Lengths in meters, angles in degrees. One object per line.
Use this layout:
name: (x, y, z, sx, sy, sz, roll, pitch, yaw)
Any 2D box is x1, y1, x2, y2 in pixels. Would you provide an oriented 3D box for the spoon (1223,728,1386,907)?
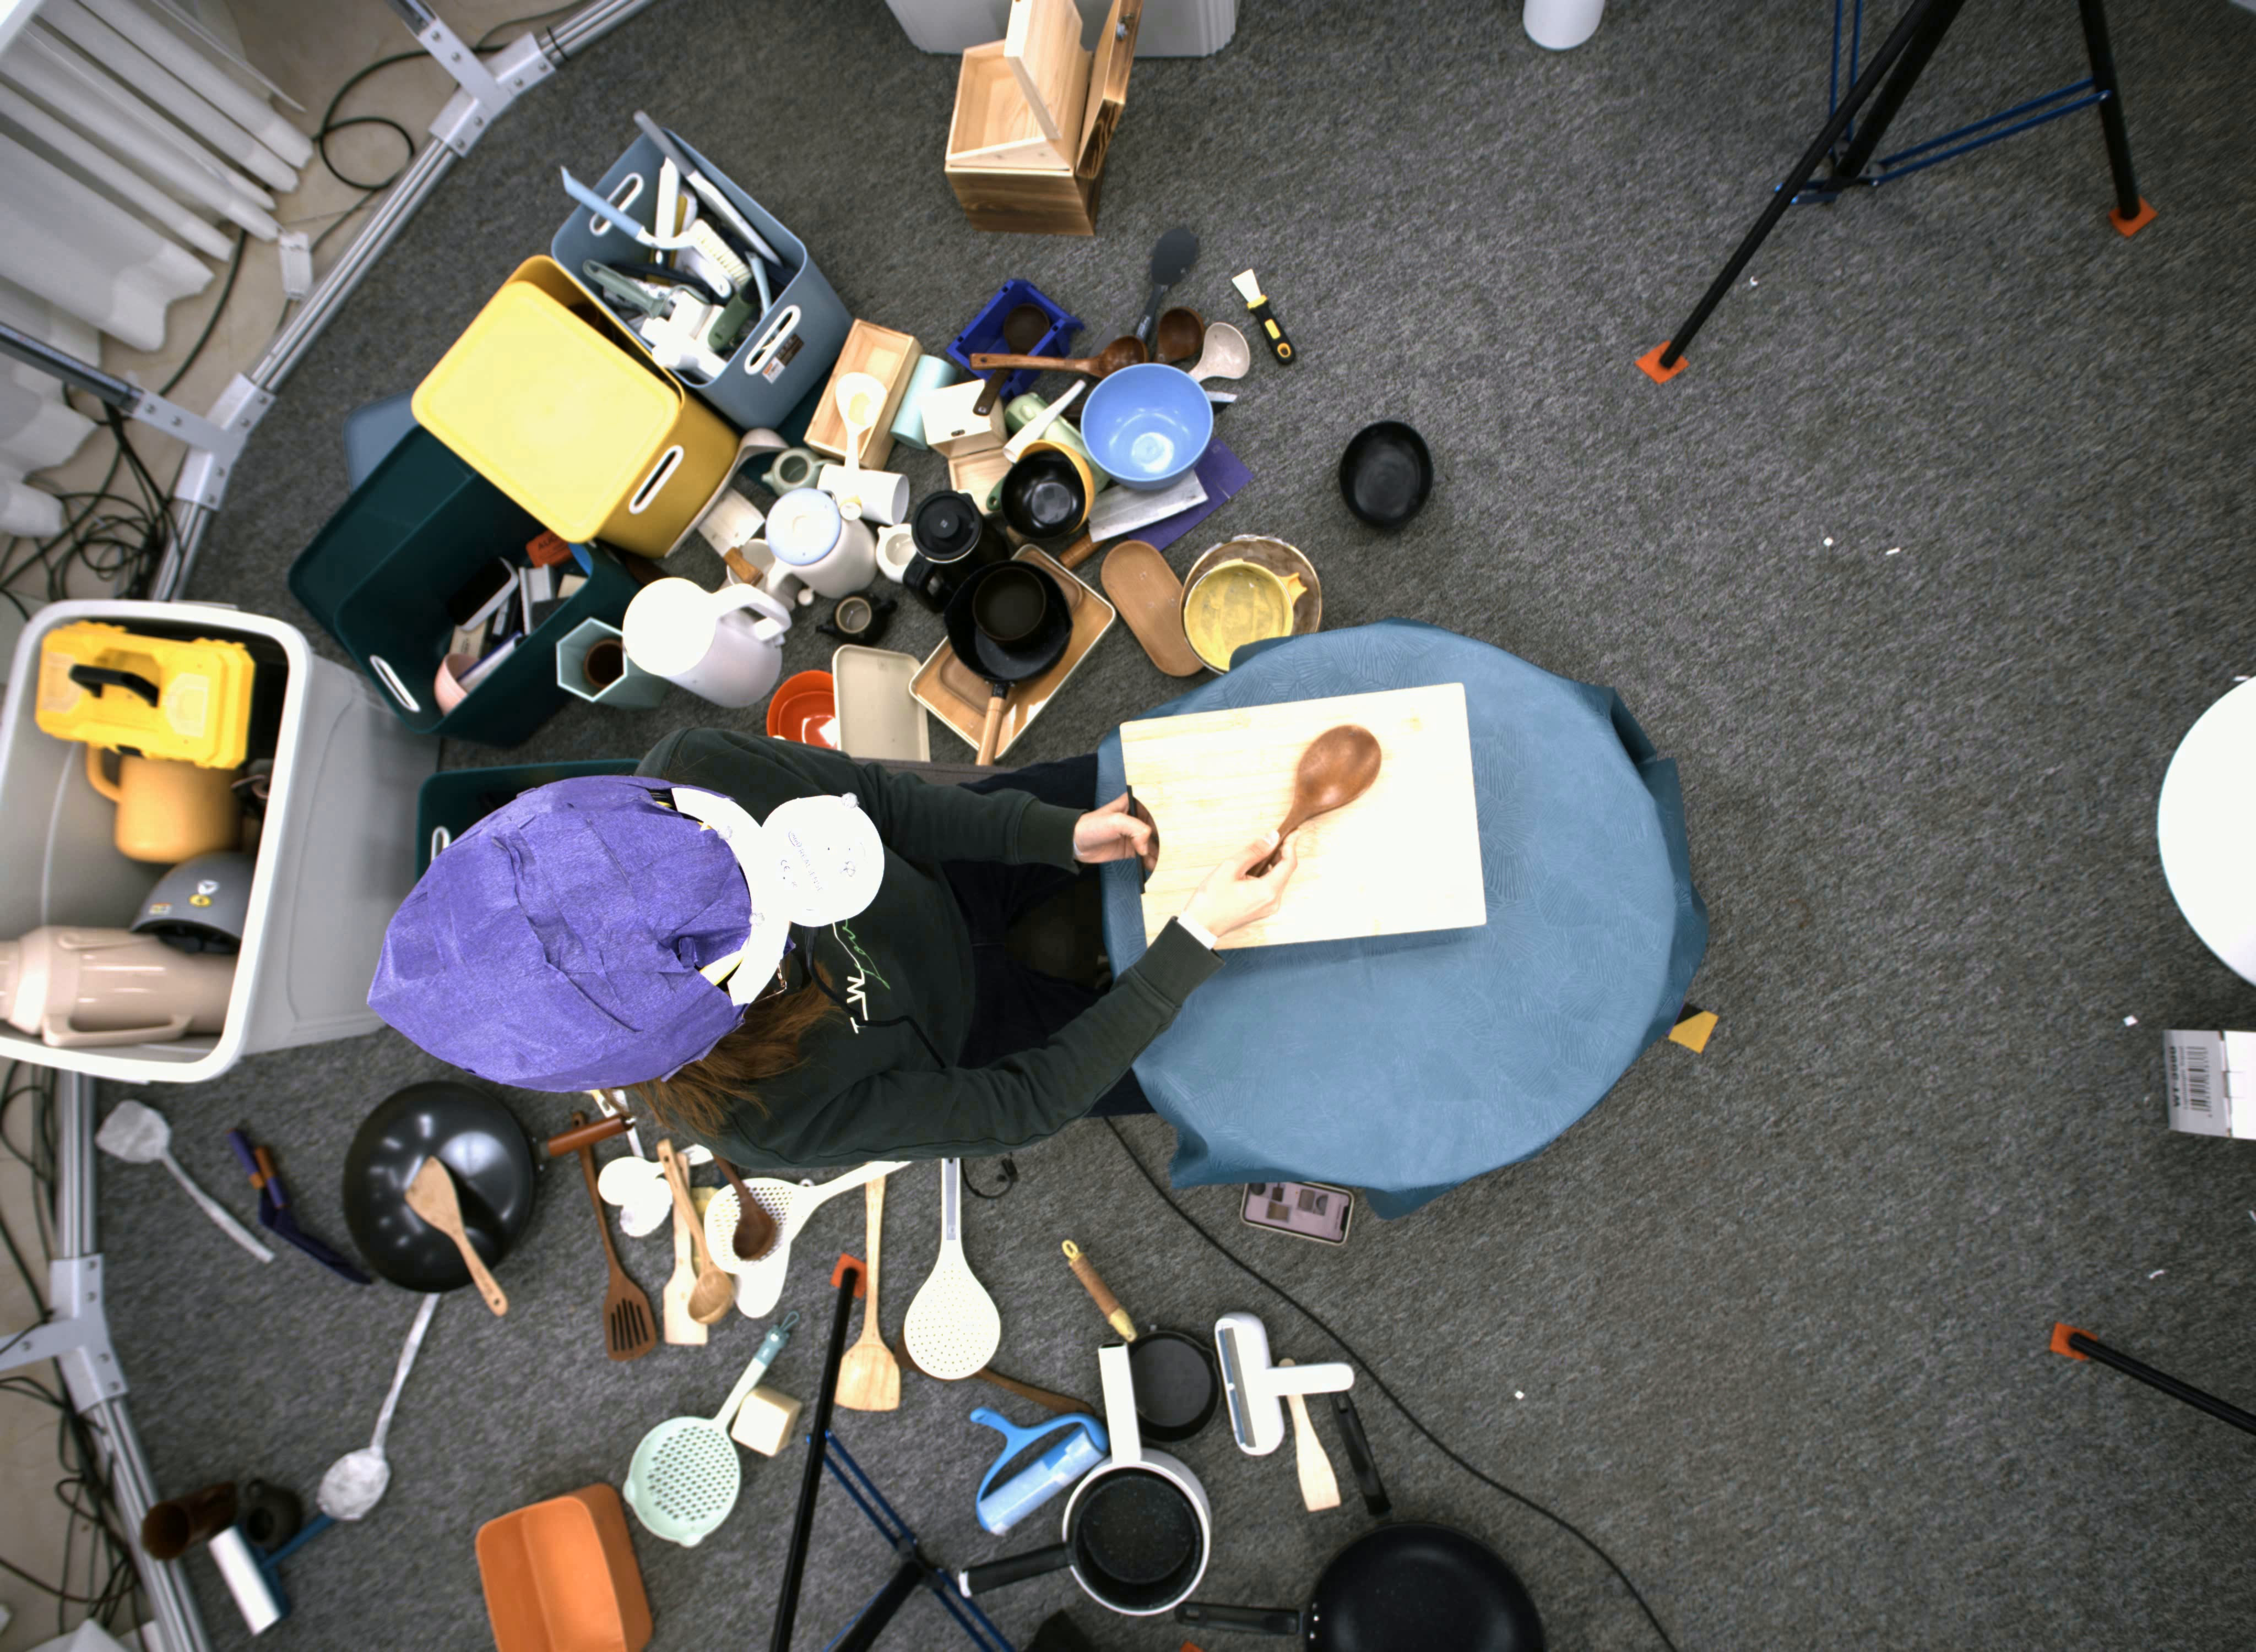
spoon: (0.167, -0.007, 1.338, 0.075, 0.017, 0.215, 41, 88, 23)

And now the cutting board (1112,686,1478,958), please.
cutting board: (0.170, -0.003, 1.384, 0.350, 0.023, 0.252, -7, 98, 10)
